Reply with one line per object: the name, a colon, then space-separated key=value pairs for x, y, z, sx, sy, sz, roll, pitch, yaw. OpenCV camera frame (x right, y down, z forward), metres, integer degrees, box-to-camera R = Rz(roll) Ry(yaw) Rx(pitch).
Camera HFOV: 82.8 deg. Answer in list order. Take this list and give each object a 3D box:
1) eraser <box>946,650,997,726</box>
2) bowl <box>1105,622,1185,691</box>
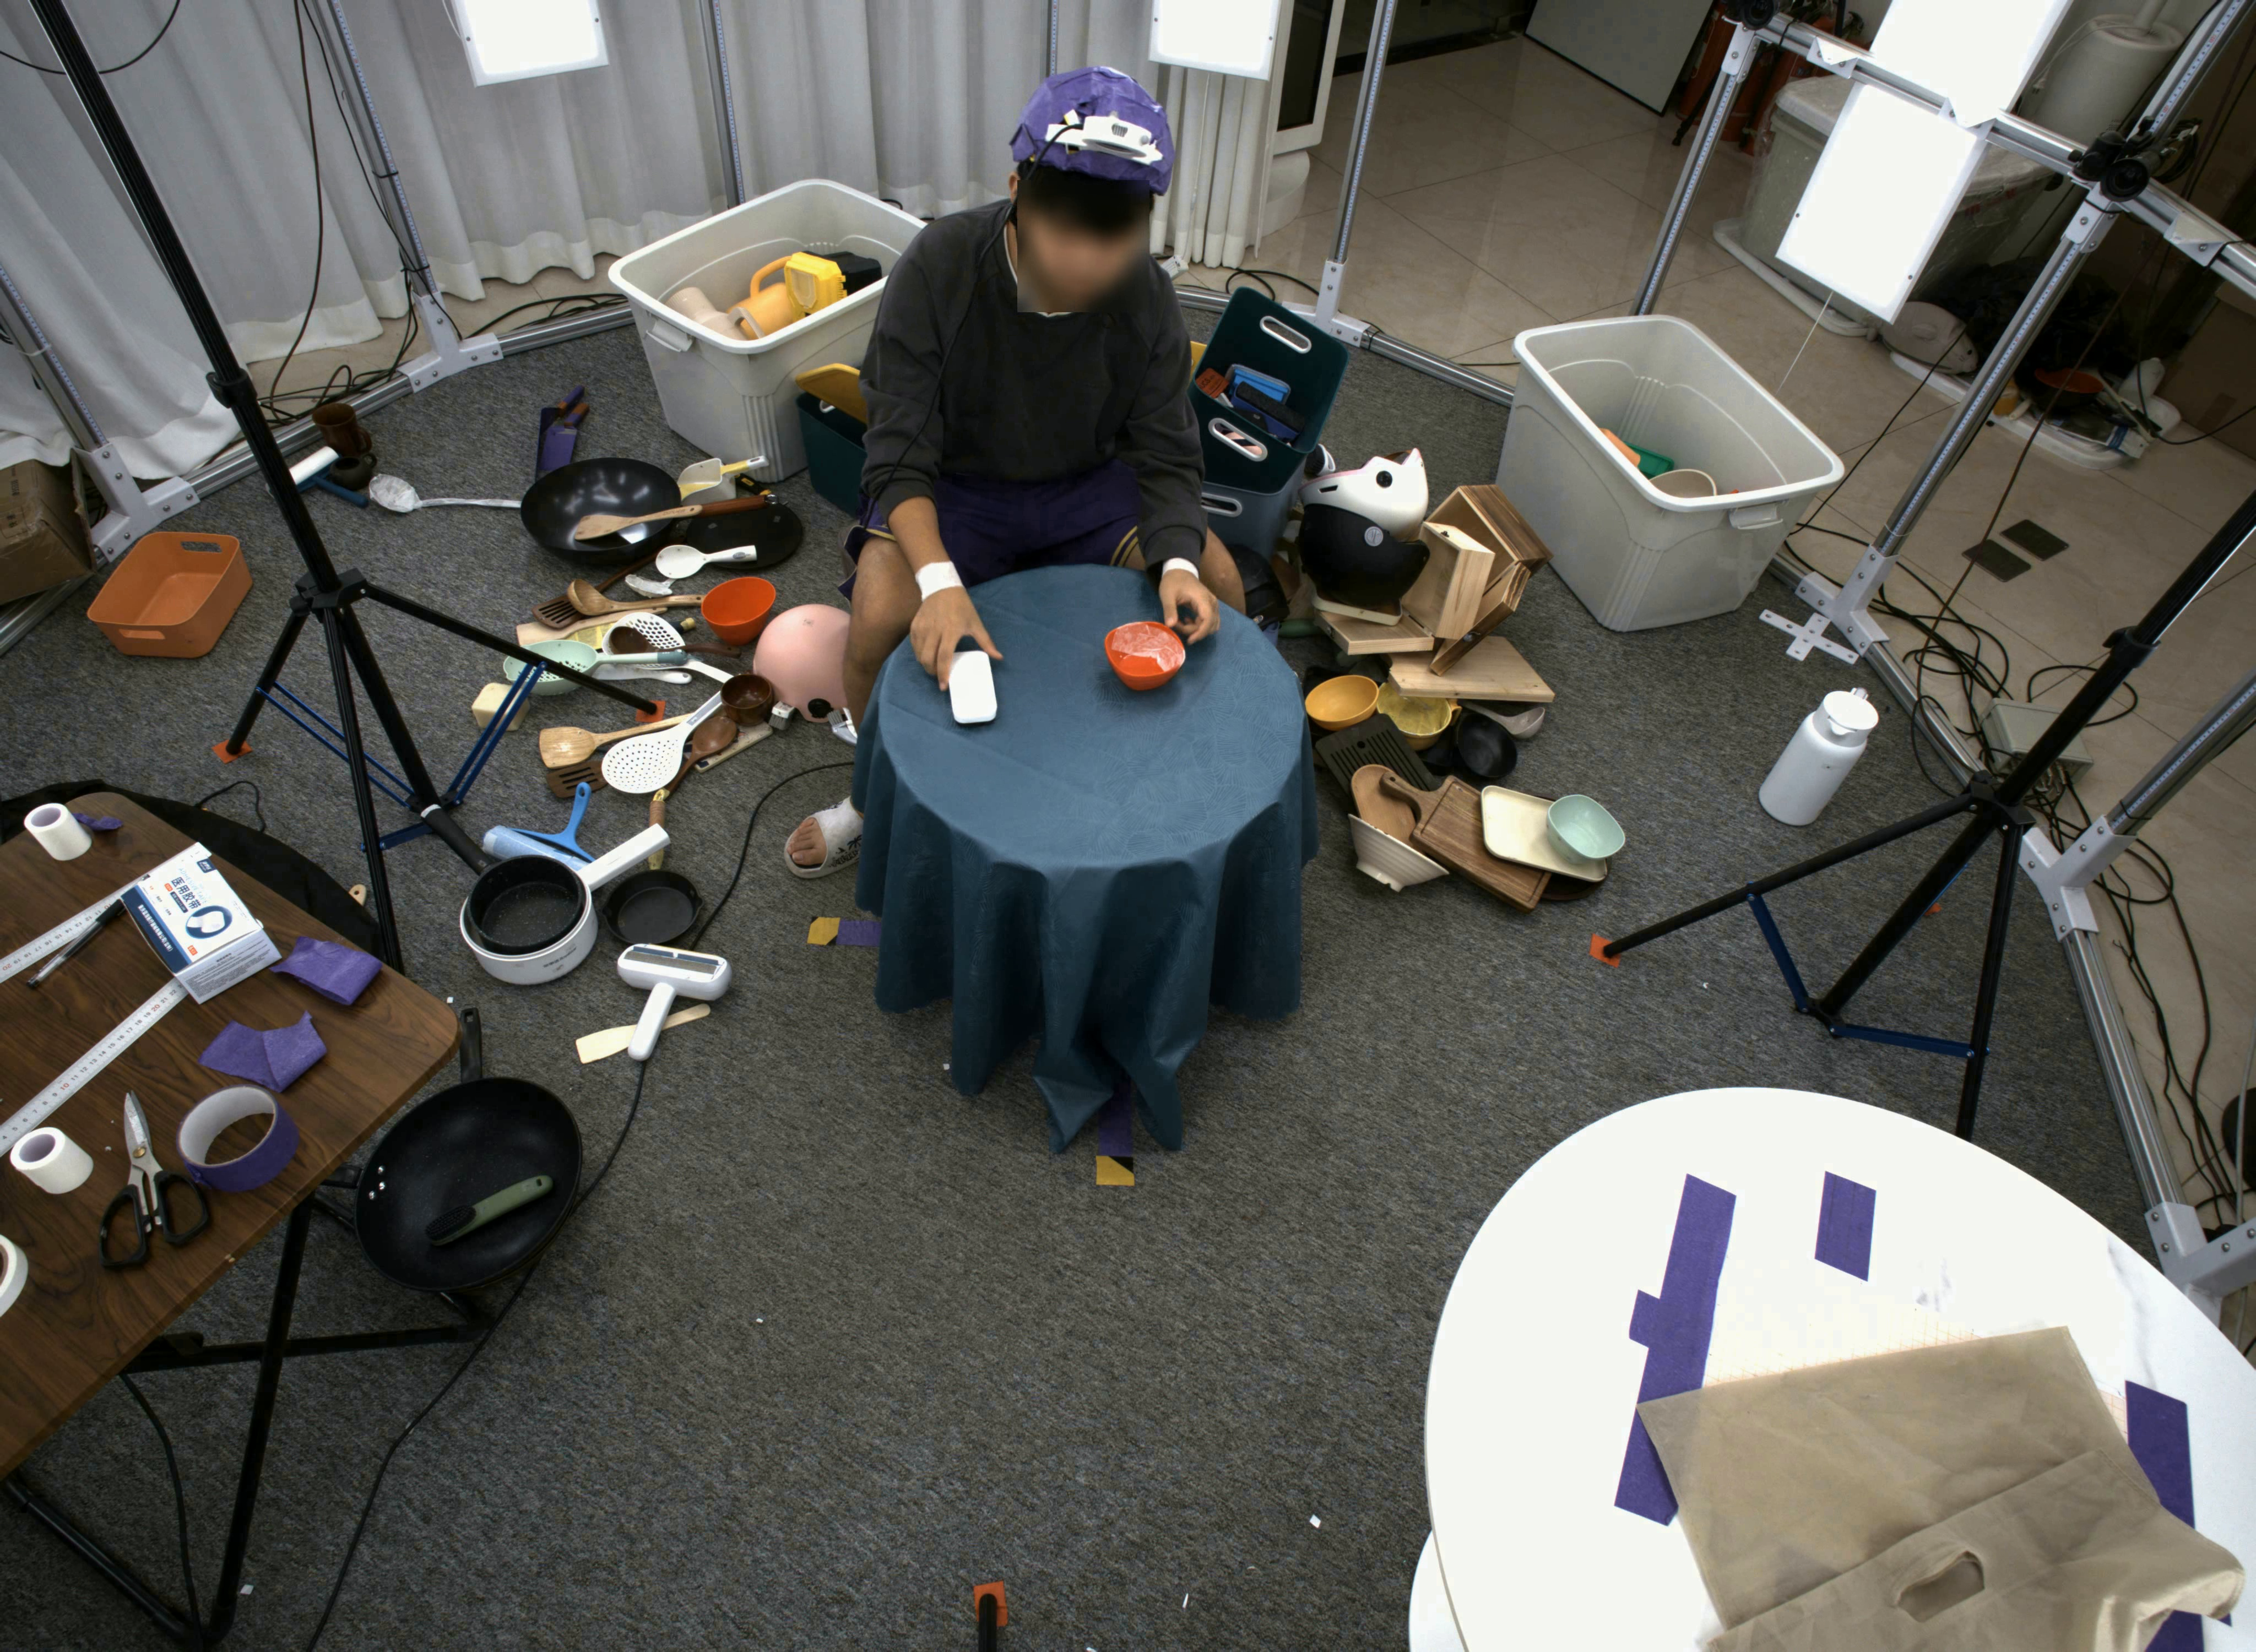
eraser: x=-0.218 y=-0.196 z=1.801 sx=0.063 sy=0.034 sz=0.134 roll=-4 pitch=51 yaw=-9
bowl: x=0.023 y=-0.237 z=1.841 sx=0.119 sy=0.050 sz=0.122 roll=1 pitch=49 yaw=-2
